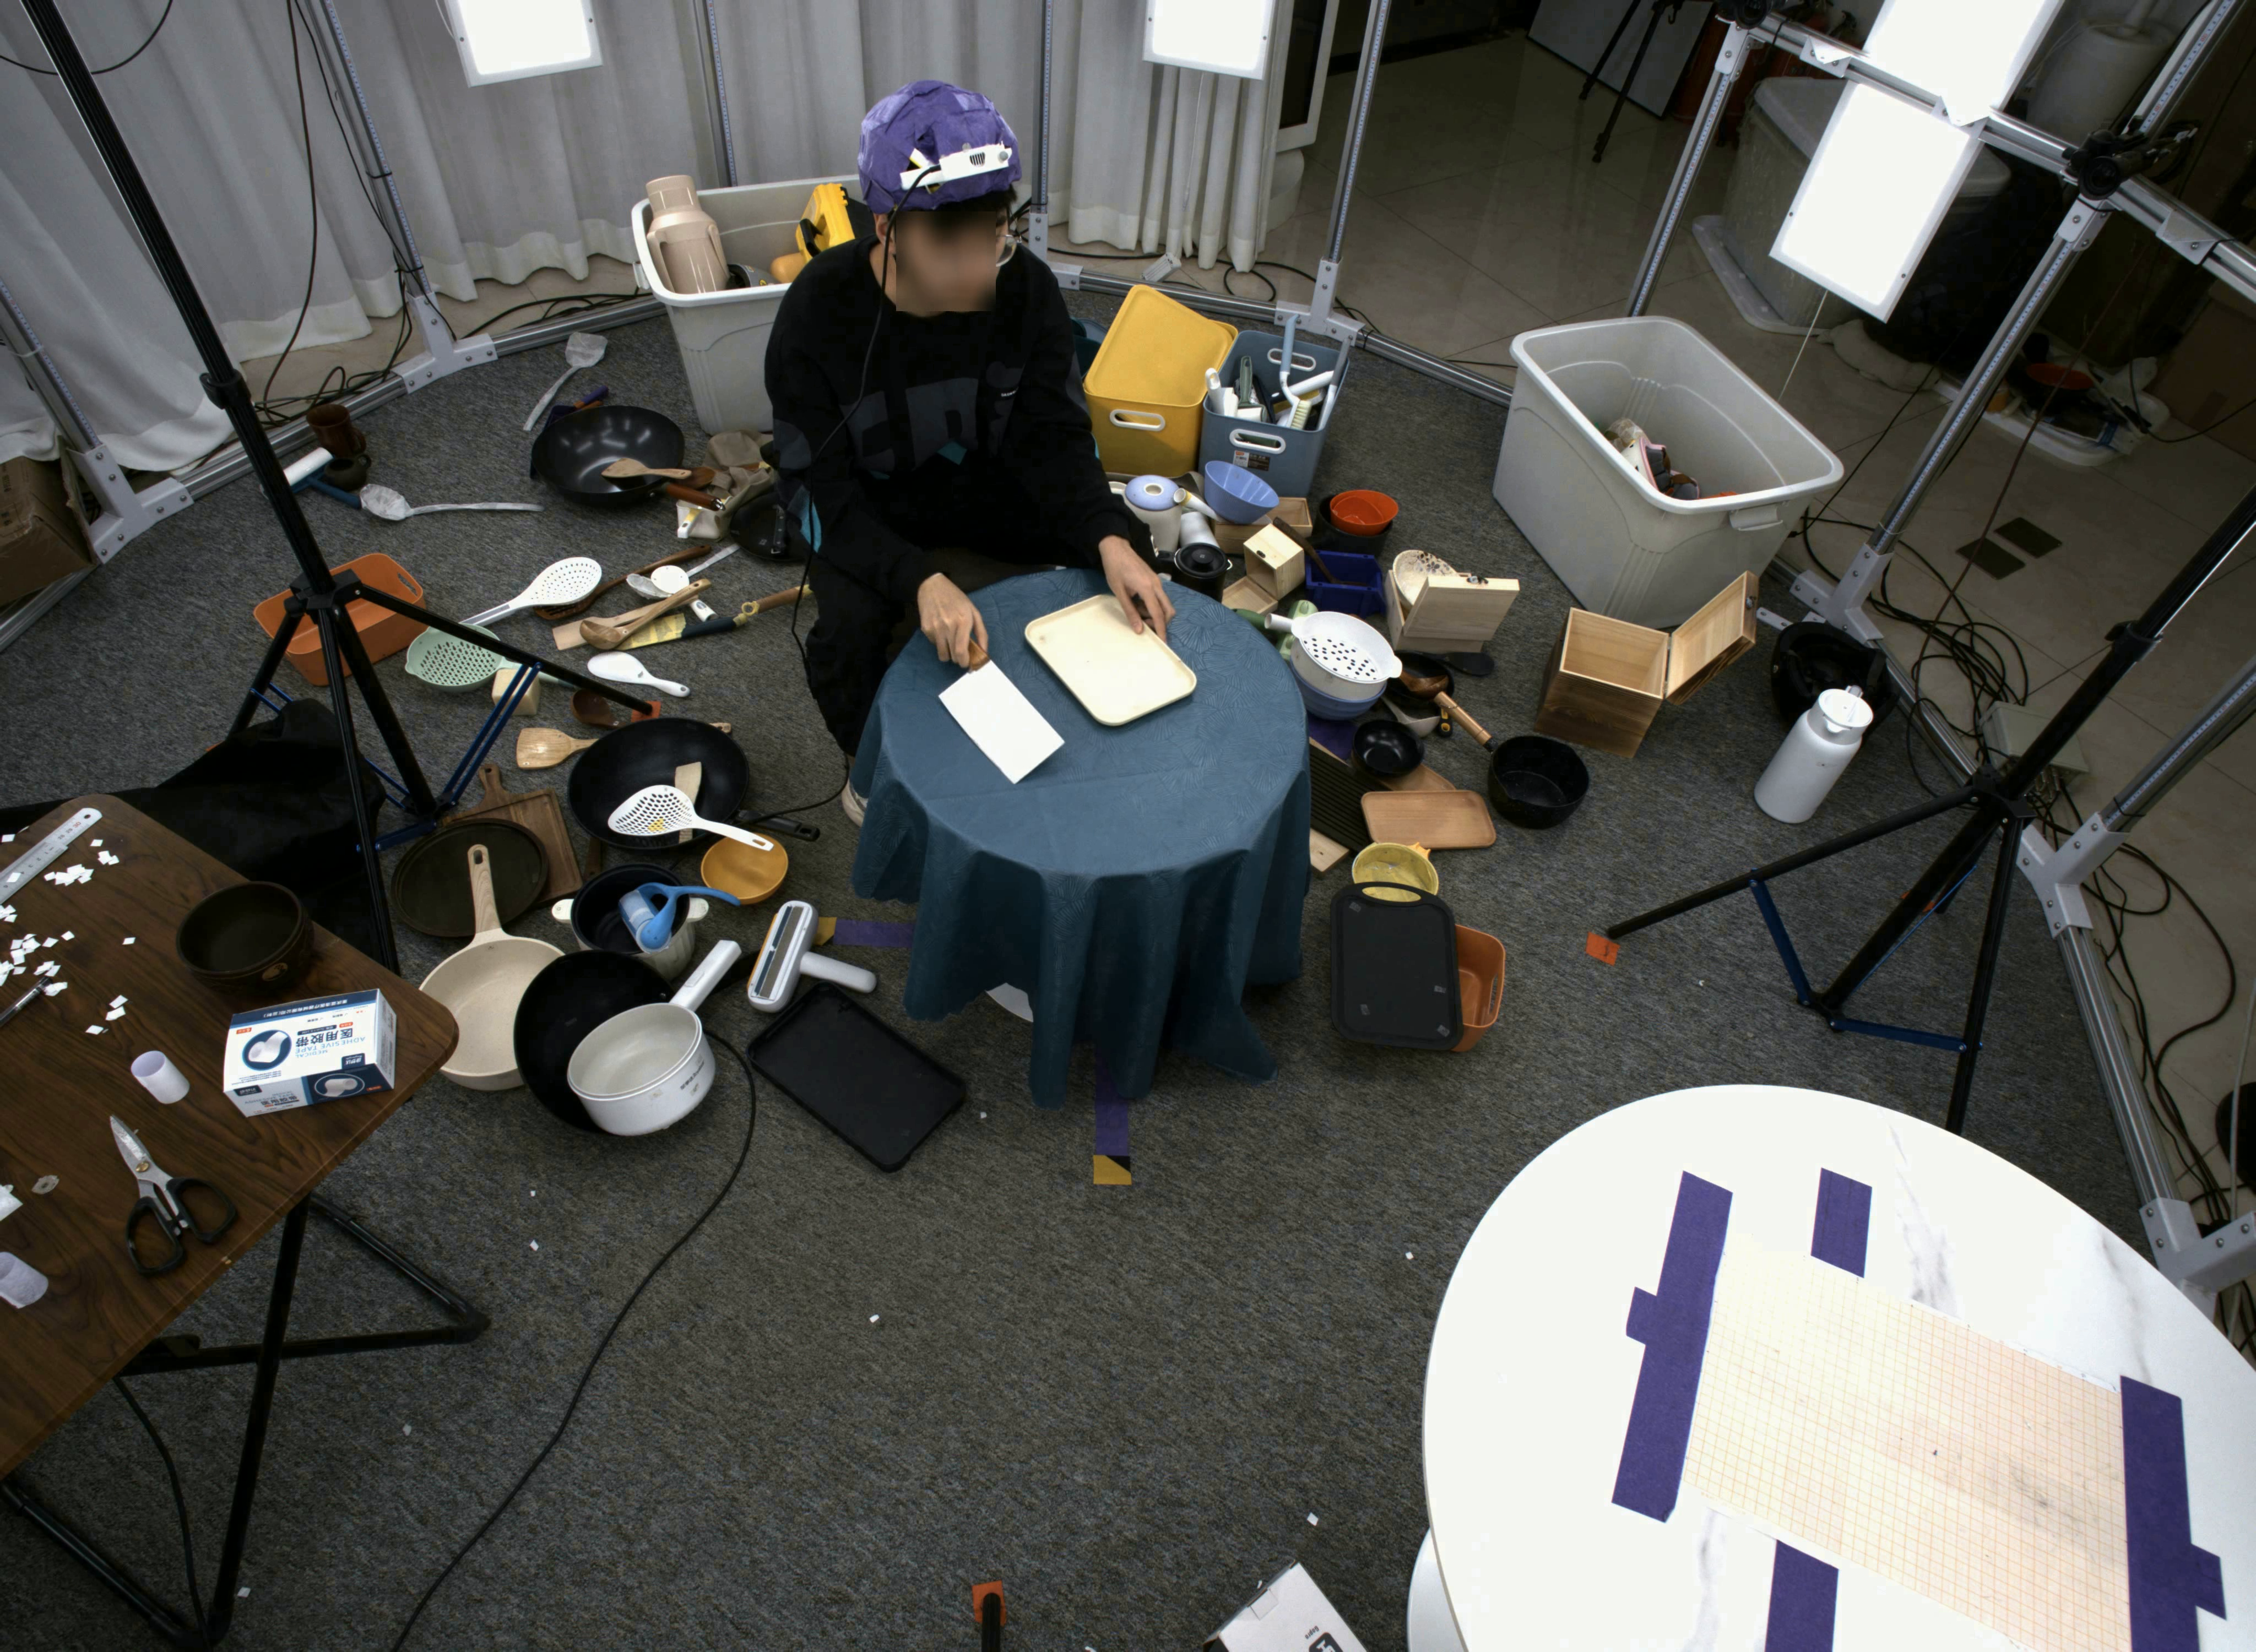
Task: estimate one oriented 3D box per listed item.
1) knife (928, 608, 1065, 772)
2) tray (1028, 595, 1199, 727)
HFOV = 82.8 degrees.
[{"bbox_3d":[-0.205,-0.187,1.784,0.093,0.020,0.311,-40,62,-4],"label":"knife"},{"bbox_3d":[-0.022,-0.241,1.864,0.172,0.017,0.244,-25,55,-22],"label":"tray"}]
